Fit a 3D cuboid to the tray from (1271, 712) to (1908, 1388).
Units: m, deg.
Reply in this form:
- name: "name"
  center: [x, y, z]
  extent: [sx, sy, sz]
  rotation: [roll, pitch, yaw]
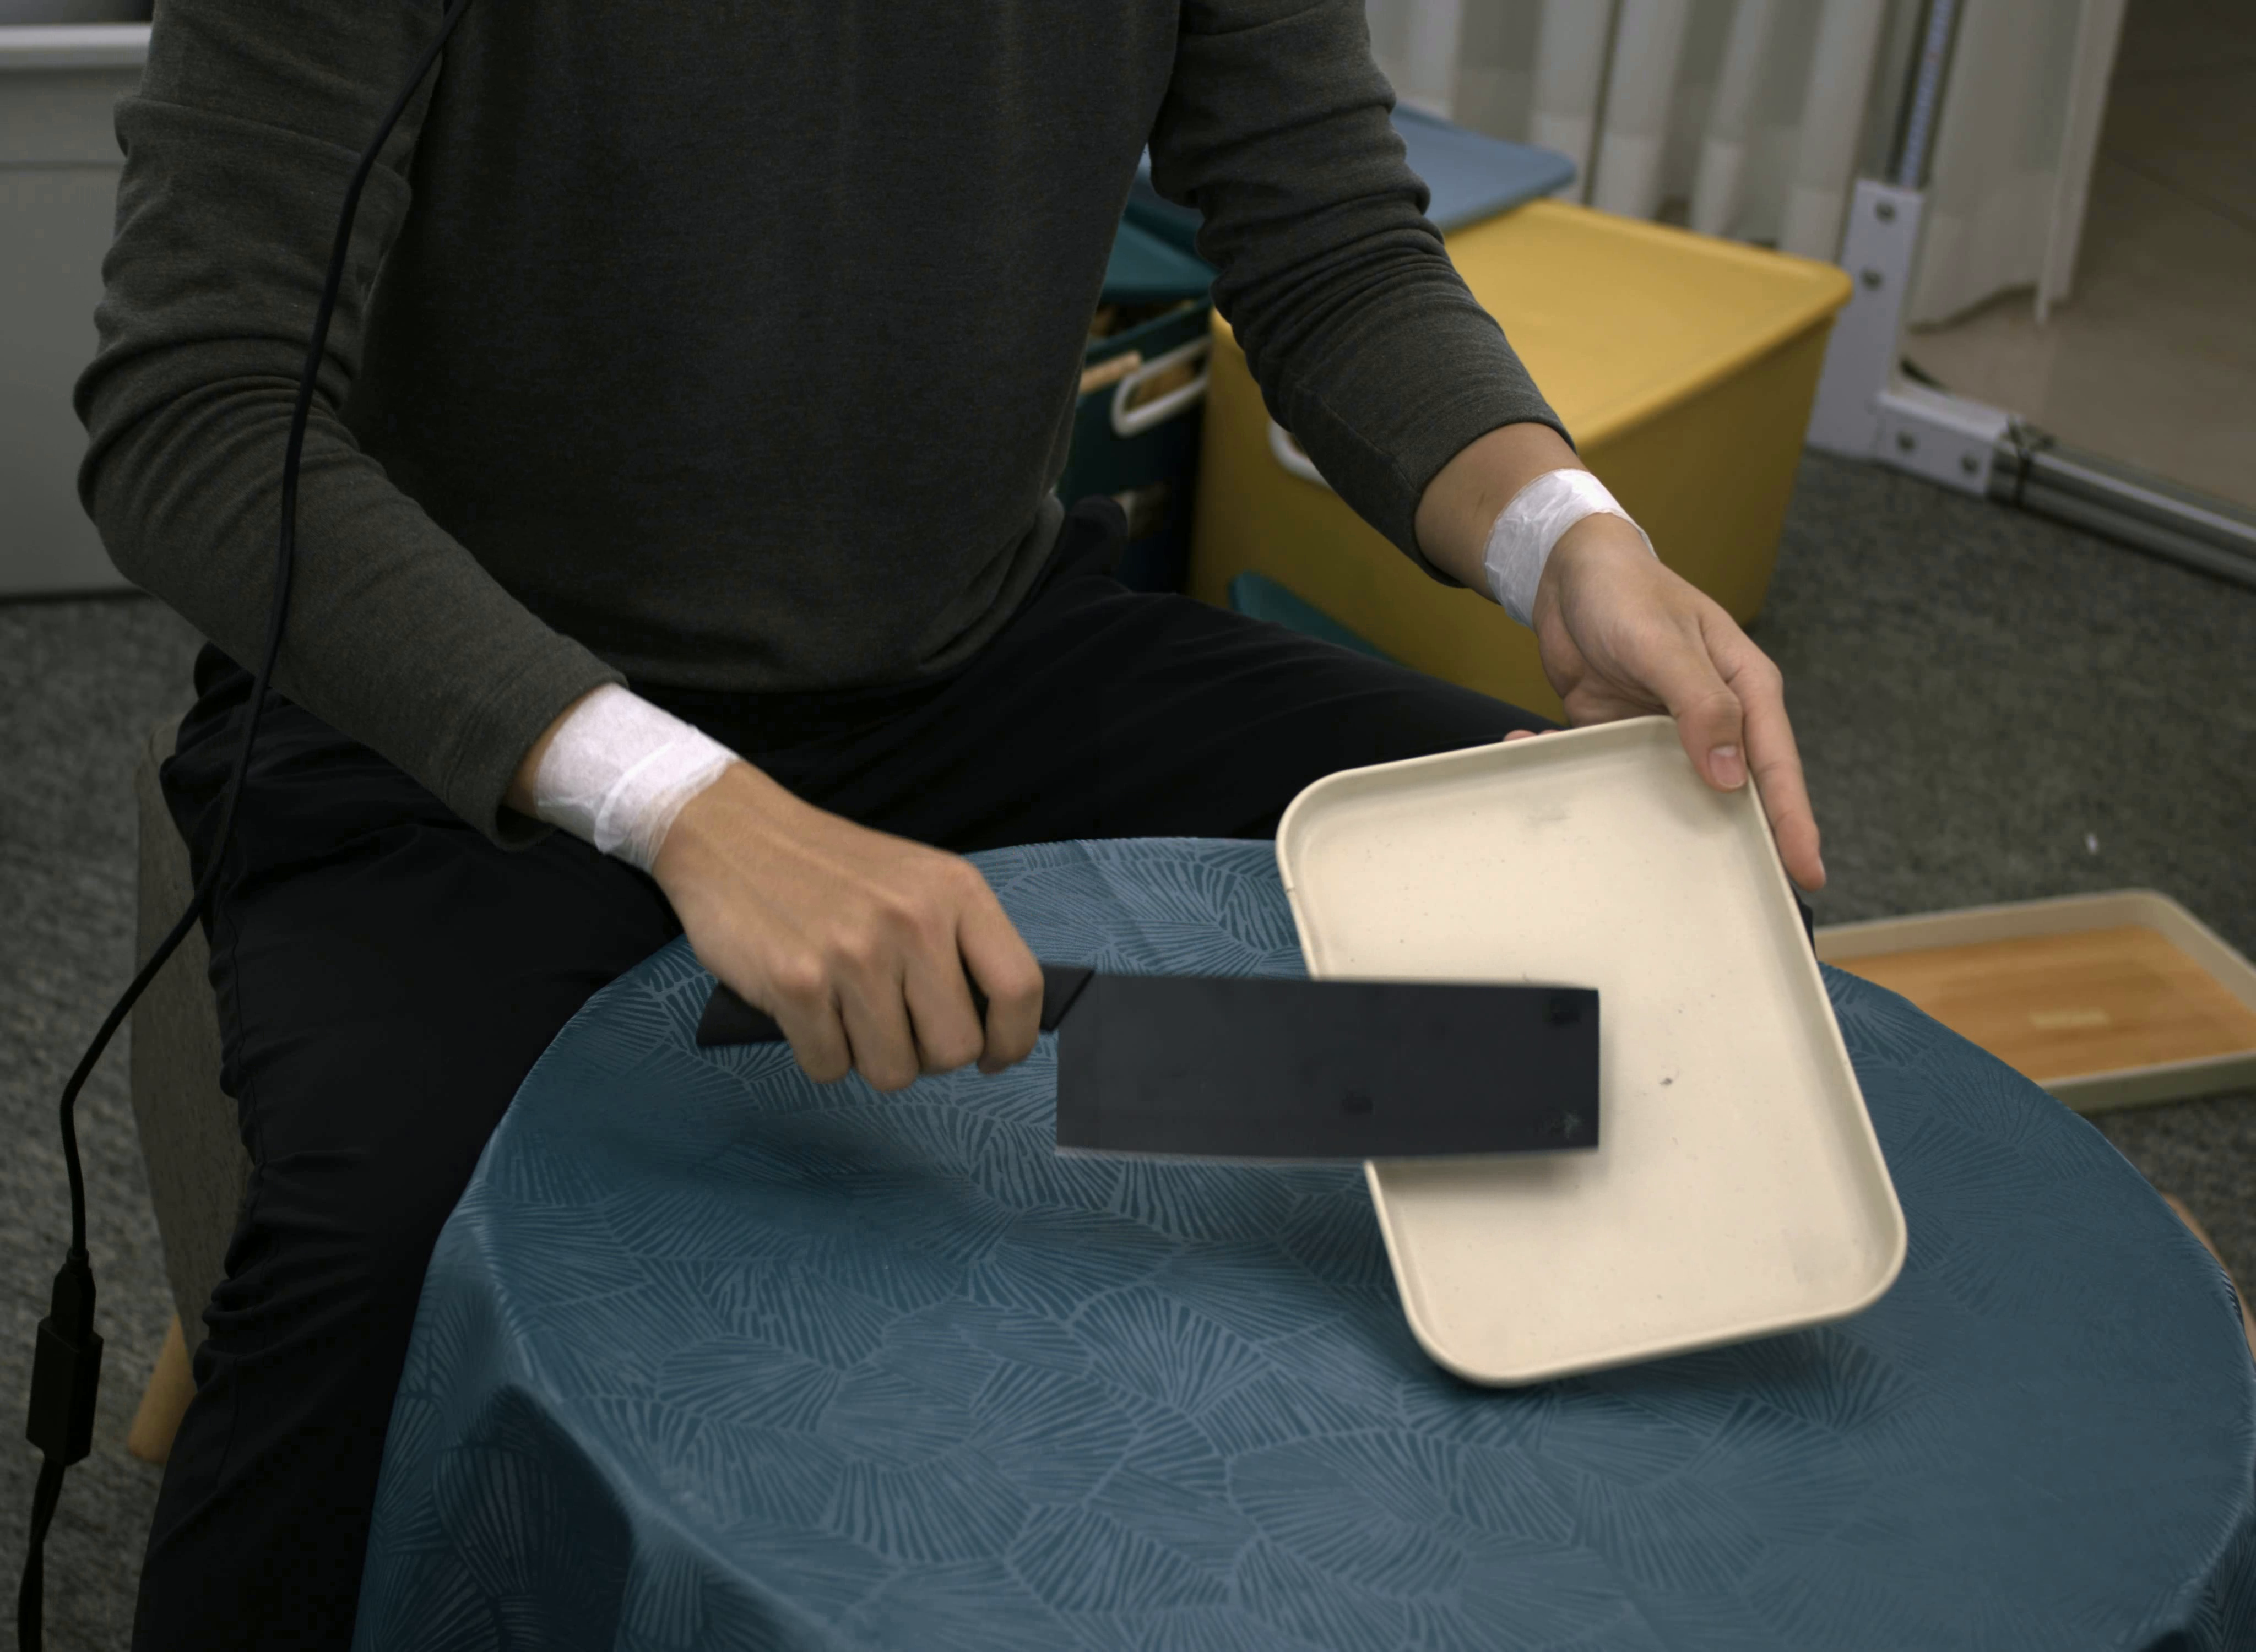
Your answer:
- name: "tray"
  center: [0.152, 0.073, 1.783]
  extent: [0.170, 0.017, 0.242]
  rotation: [-10, 58, -7]

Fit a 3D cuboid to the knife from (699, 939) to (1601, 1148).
- name: "knife"
  center: [0.008, 0.071, 1.771]
  extent: [0.302, 0.021, 0.081]
  rotation: [5, 64, 4]
